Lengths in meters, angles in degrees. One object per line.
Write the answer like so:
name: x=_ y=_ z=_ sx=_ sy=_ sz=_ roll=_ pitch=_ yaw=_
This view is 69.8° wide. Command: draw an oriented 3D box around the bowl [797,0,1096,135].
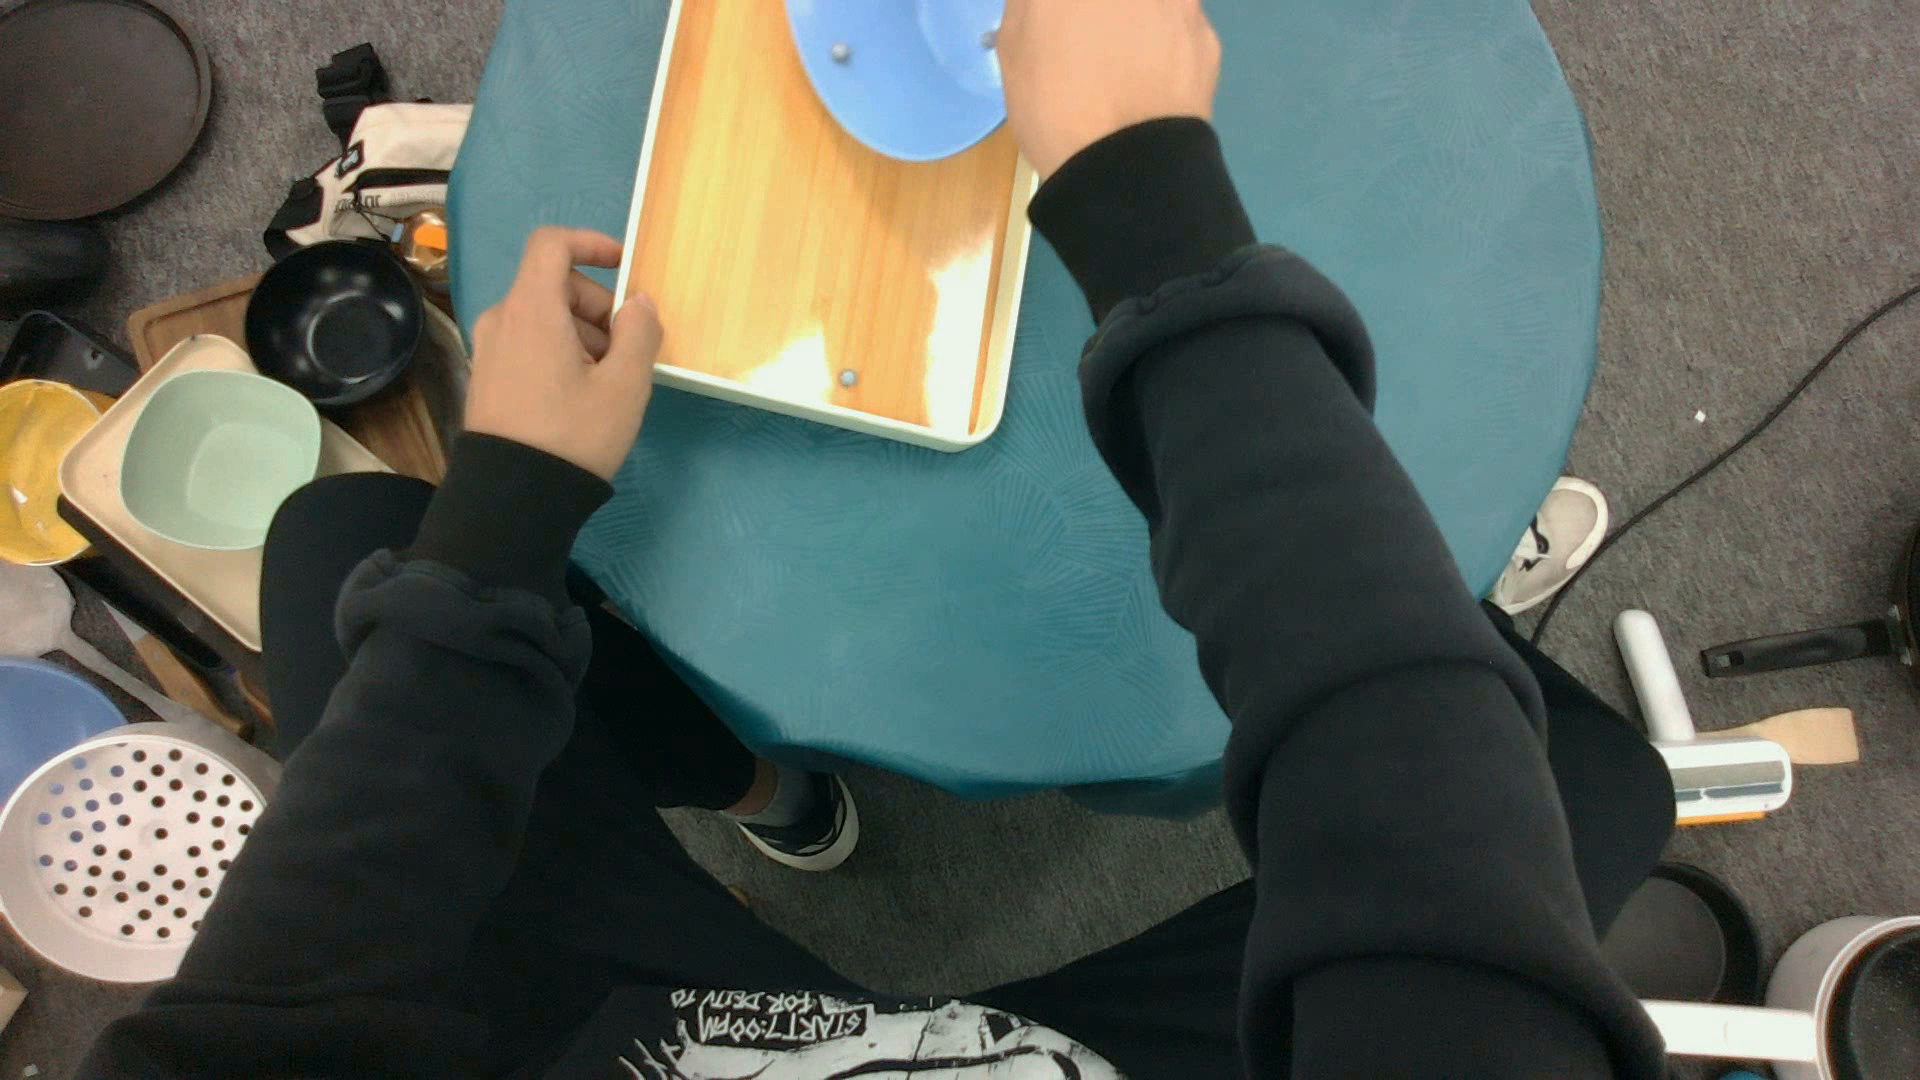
bowl: x=0.003 y=-0.272 z=0.616 sx=0.070 sy=0.175 sz=0.176 roll=-14 pitch=77 yaw=-43

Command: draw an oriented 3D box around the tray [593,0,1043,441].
tray: x=-0.062 y=-0.210 z=0.686 sx=0.192 sy=0.027 sz=0.301 roll=12 pitch=77 yaw=-17
